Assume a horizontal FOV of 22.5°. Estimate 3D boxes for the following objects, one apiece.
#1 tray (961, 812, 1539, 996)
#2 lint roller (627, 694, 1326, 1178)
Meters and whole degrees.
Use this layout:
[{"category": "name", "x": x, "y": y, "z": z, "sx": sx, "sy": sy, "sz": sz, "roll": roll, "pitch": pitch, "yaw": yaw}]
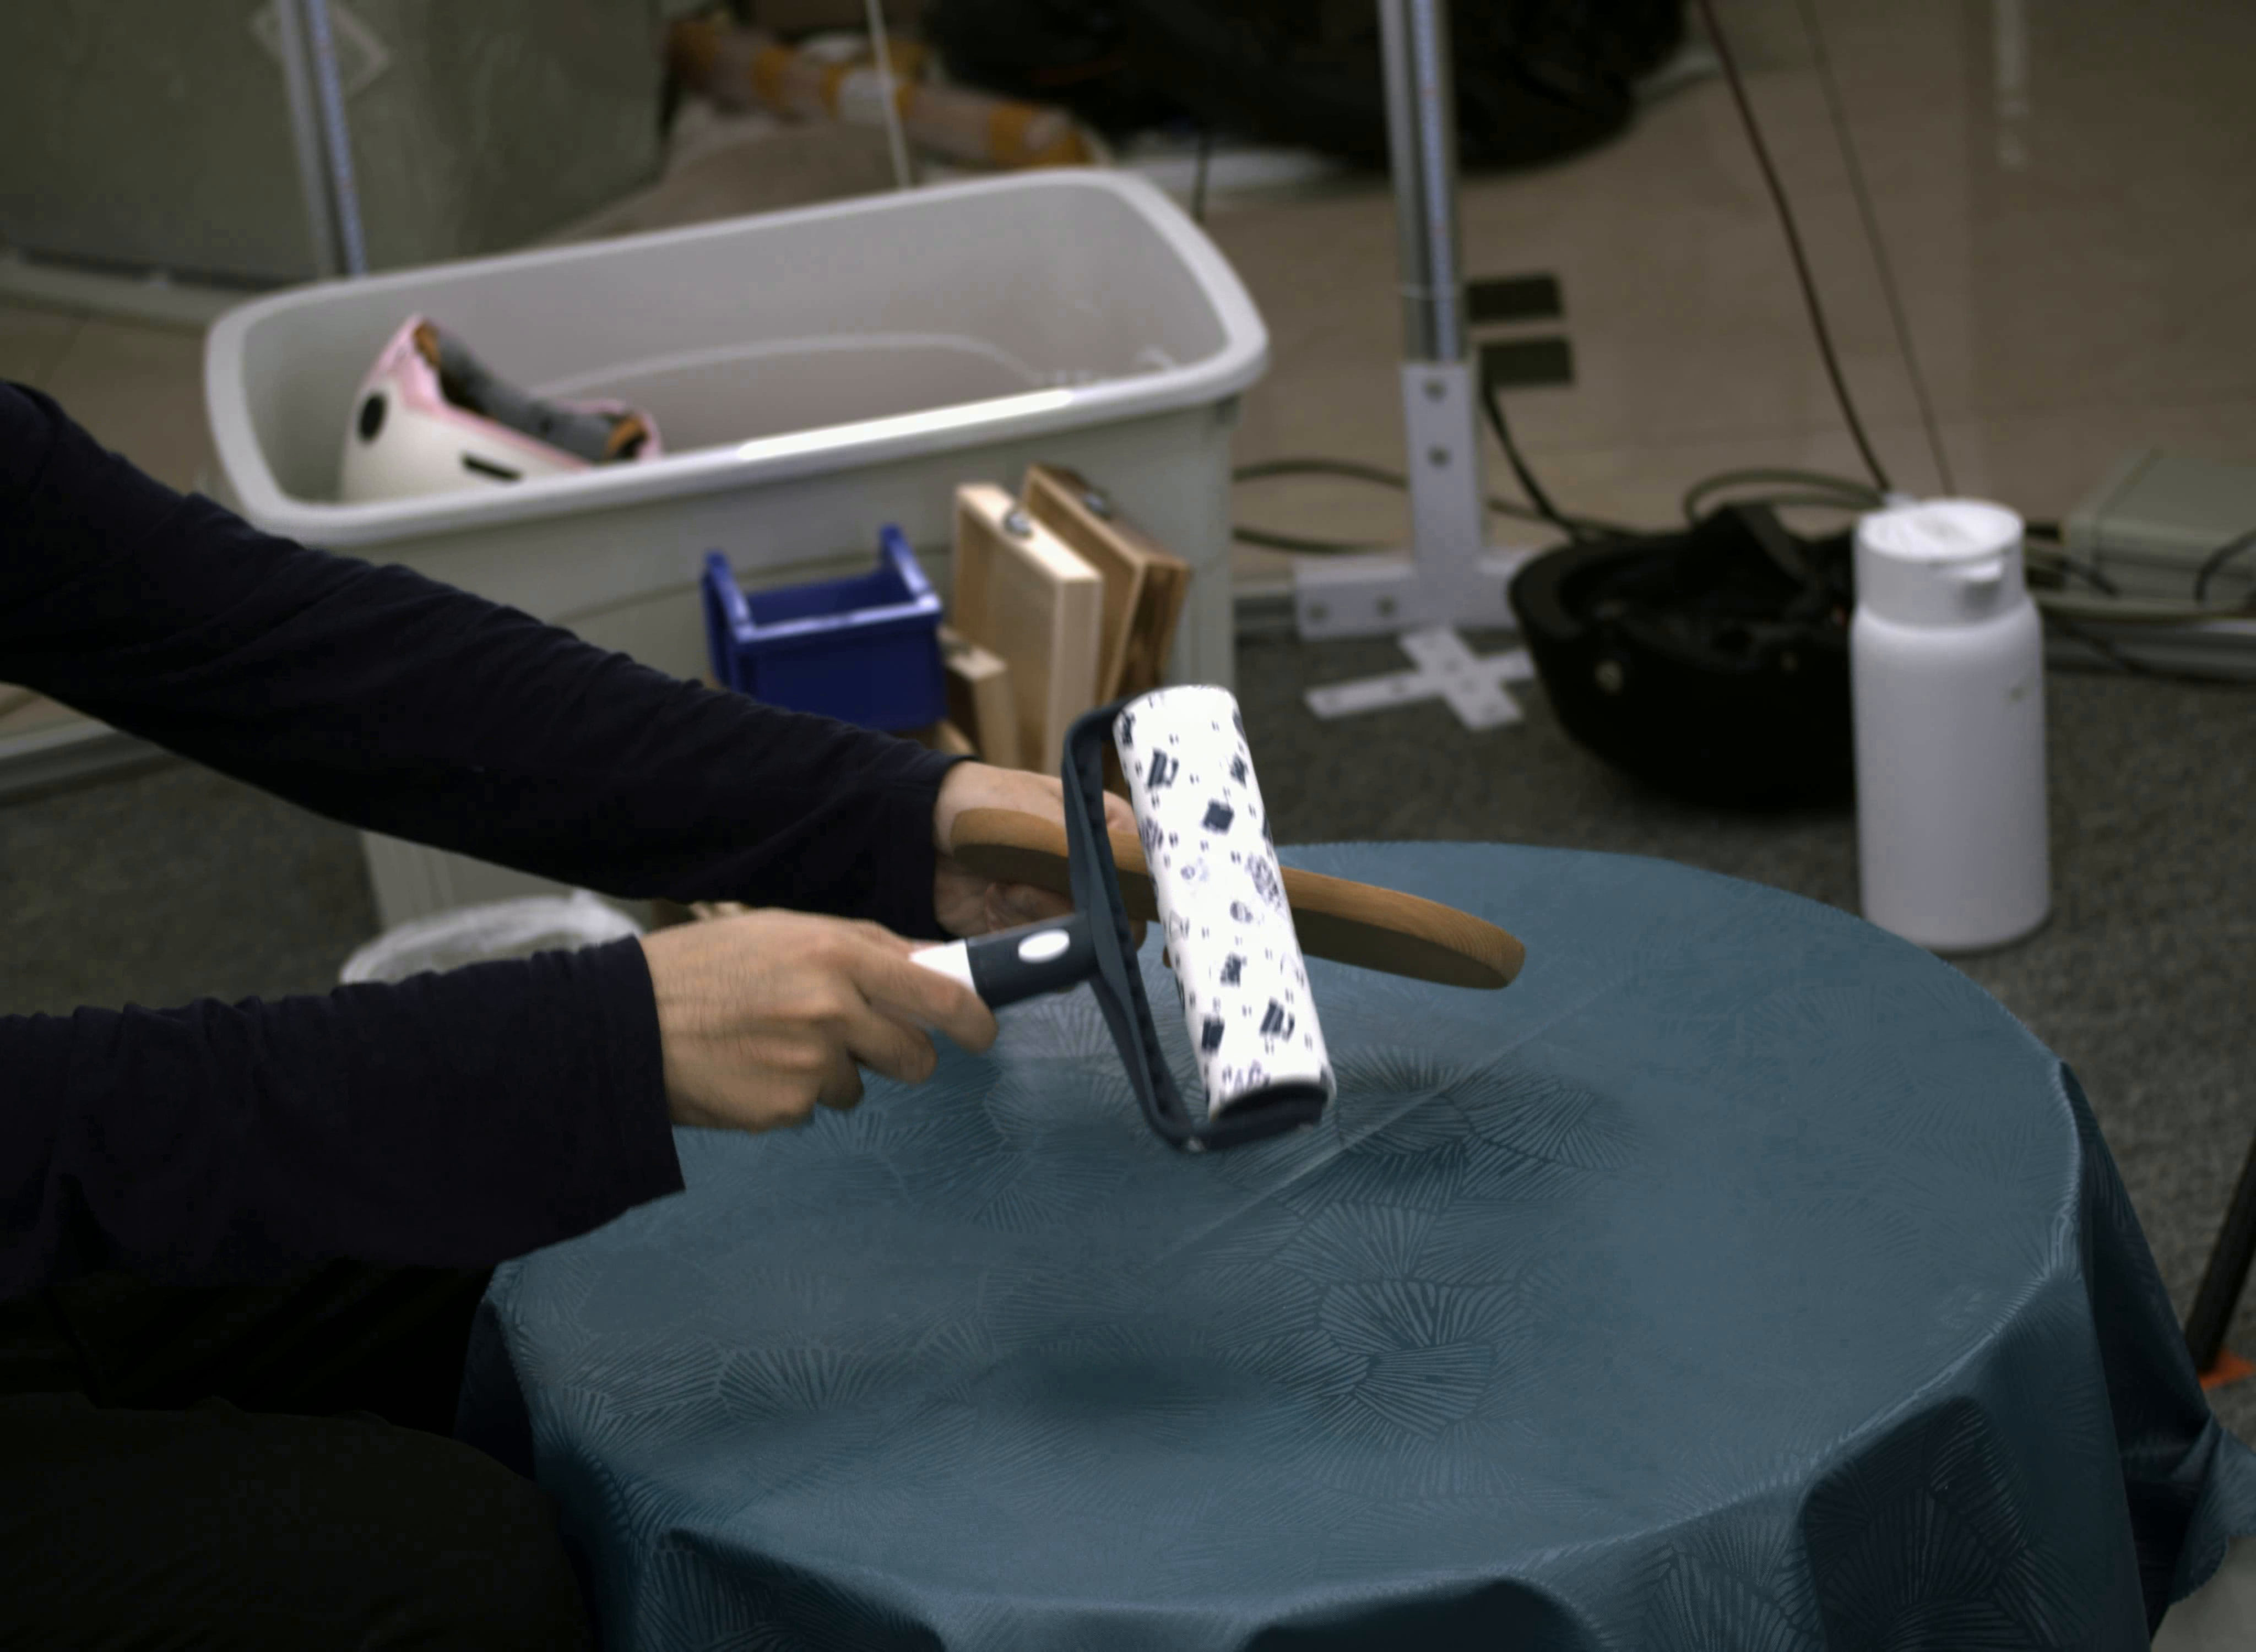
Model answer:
[{"category": "tray", "x": 0.045, "y": 0.031, "z": 2.182, "sx": 0.230, "sy": 0.020, "sz": 0.102, "roll": 14, "pitch": -9, "yaw": 14}, {"category": "lint roller", "x": -0.063, "y": 0.063, "z": 2.035, "sx": 0.247, "sy": 0.051, "sz": 0.174, "roll": -15, "pitch": 67, "yaw": 4}]
